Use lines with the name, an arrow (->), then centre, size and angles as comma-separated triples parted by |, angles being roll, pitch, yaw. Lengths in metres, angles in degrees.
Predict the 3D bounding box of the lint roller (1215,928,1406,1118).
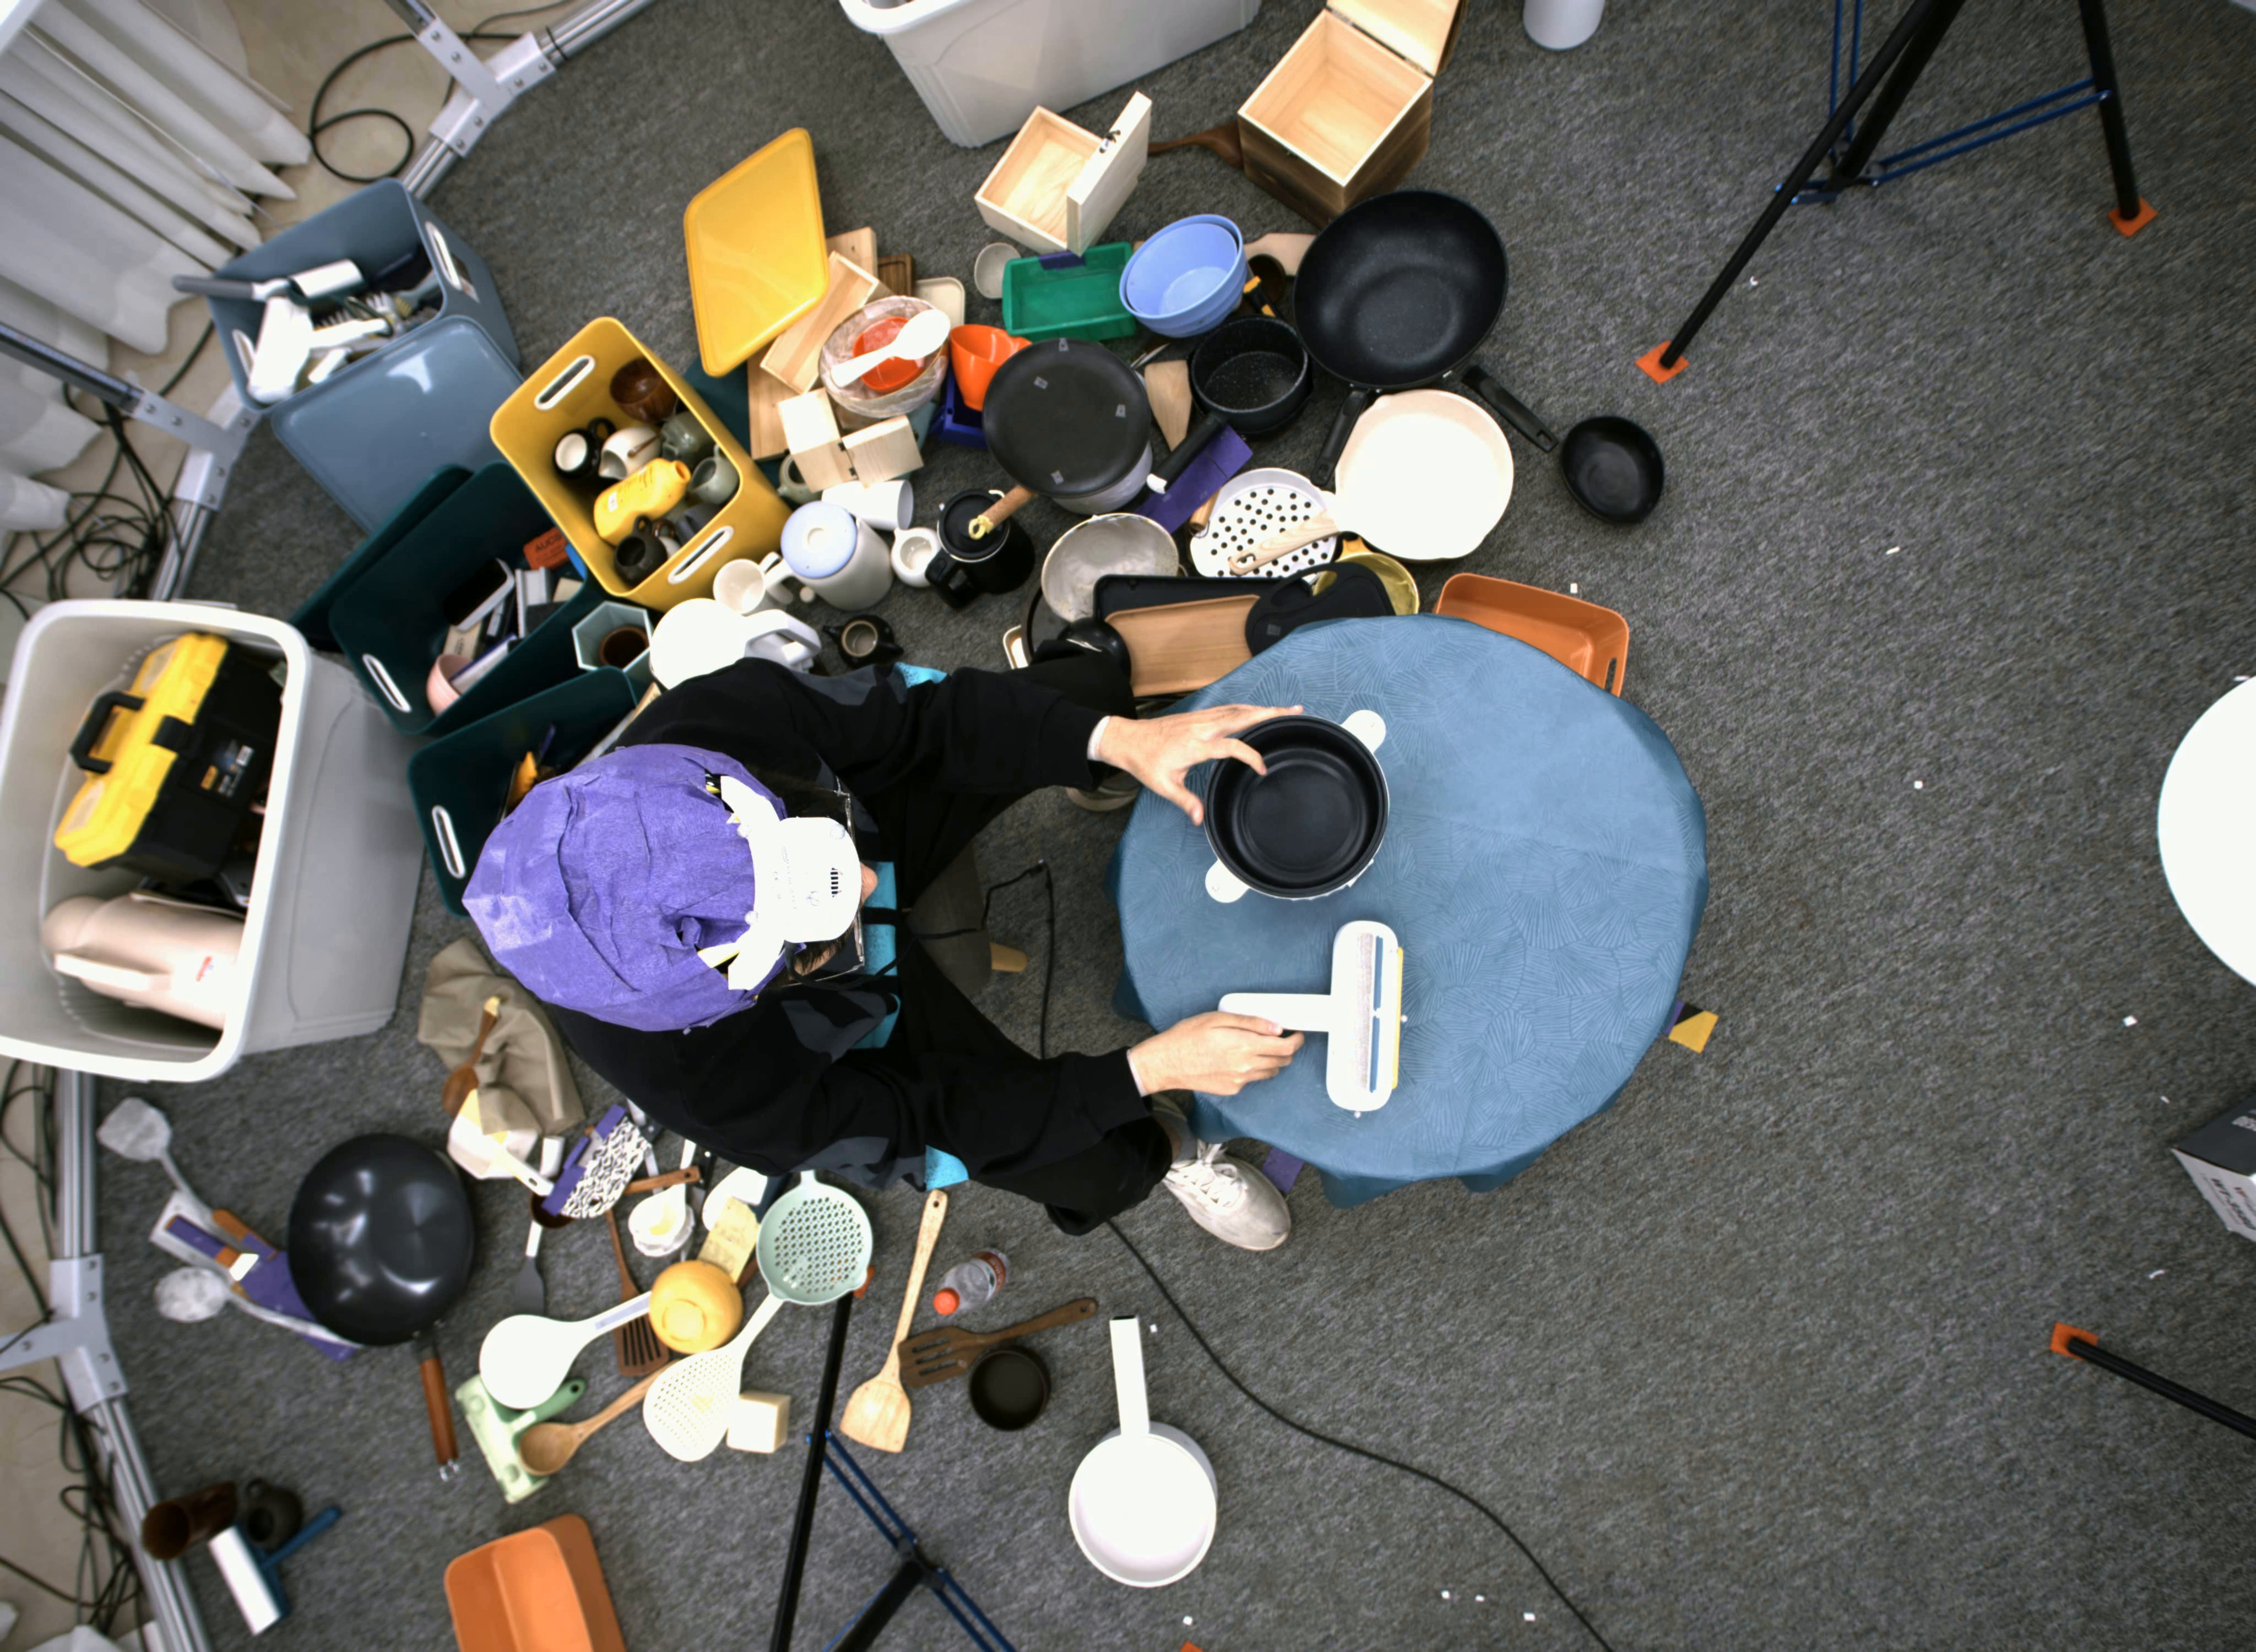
lint roller -> 0.183, 0.194, 1.431 | 0.193, 0.074, 0.191 | 6, 83, 12

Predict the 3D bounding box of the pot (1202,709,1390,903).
pot -> 0.168, -0.018, 1.408 | 0.190, 0.142, 0.241 | 42, 93, 7
